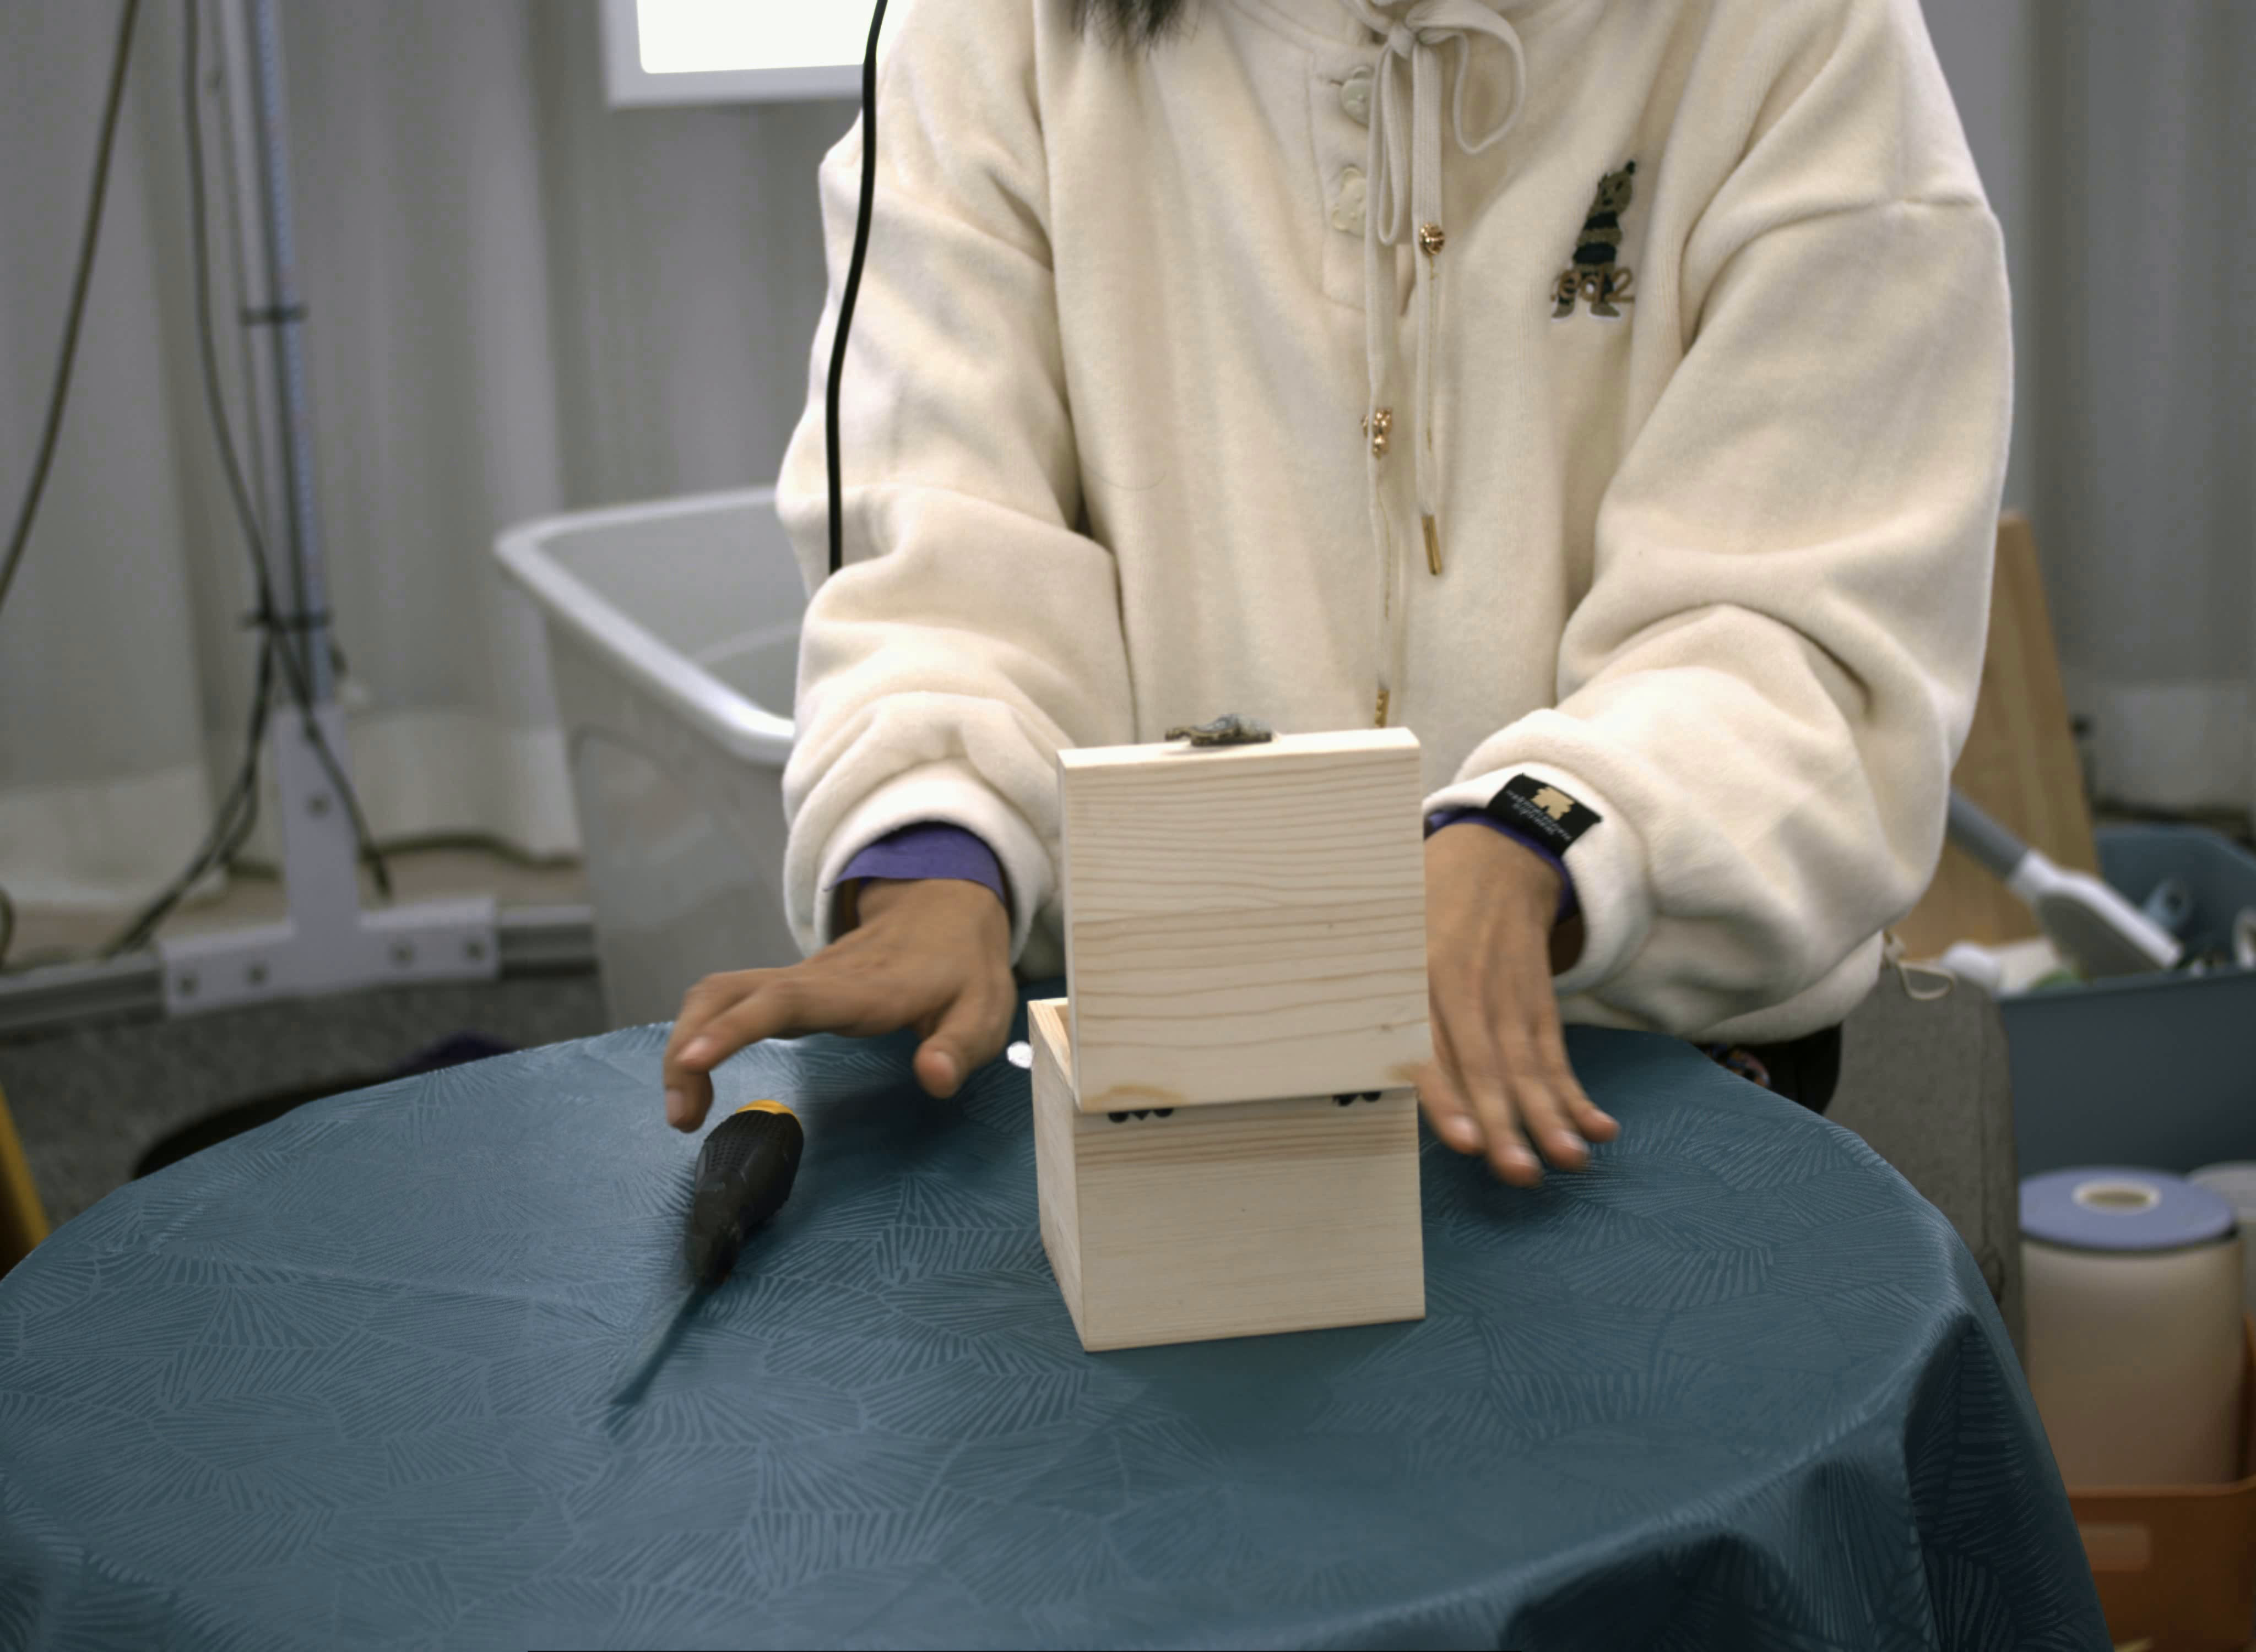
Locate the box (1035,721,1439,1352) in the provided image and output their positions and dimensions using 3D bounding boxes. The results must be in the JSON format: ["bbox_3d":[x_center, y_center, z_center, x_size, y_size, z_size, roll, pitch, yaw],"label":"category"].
[{"bbox_3d":[0.029,0.049,1.598,0.102,0.184,0.135,-5,14,-8],"label":"box"}]

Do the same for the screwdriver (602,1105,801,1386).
[{"bbox_3d":[-0.134,0.128,1.648,0.031,0.031,0.199,1,18,13],"label":"screwdriver"}]
